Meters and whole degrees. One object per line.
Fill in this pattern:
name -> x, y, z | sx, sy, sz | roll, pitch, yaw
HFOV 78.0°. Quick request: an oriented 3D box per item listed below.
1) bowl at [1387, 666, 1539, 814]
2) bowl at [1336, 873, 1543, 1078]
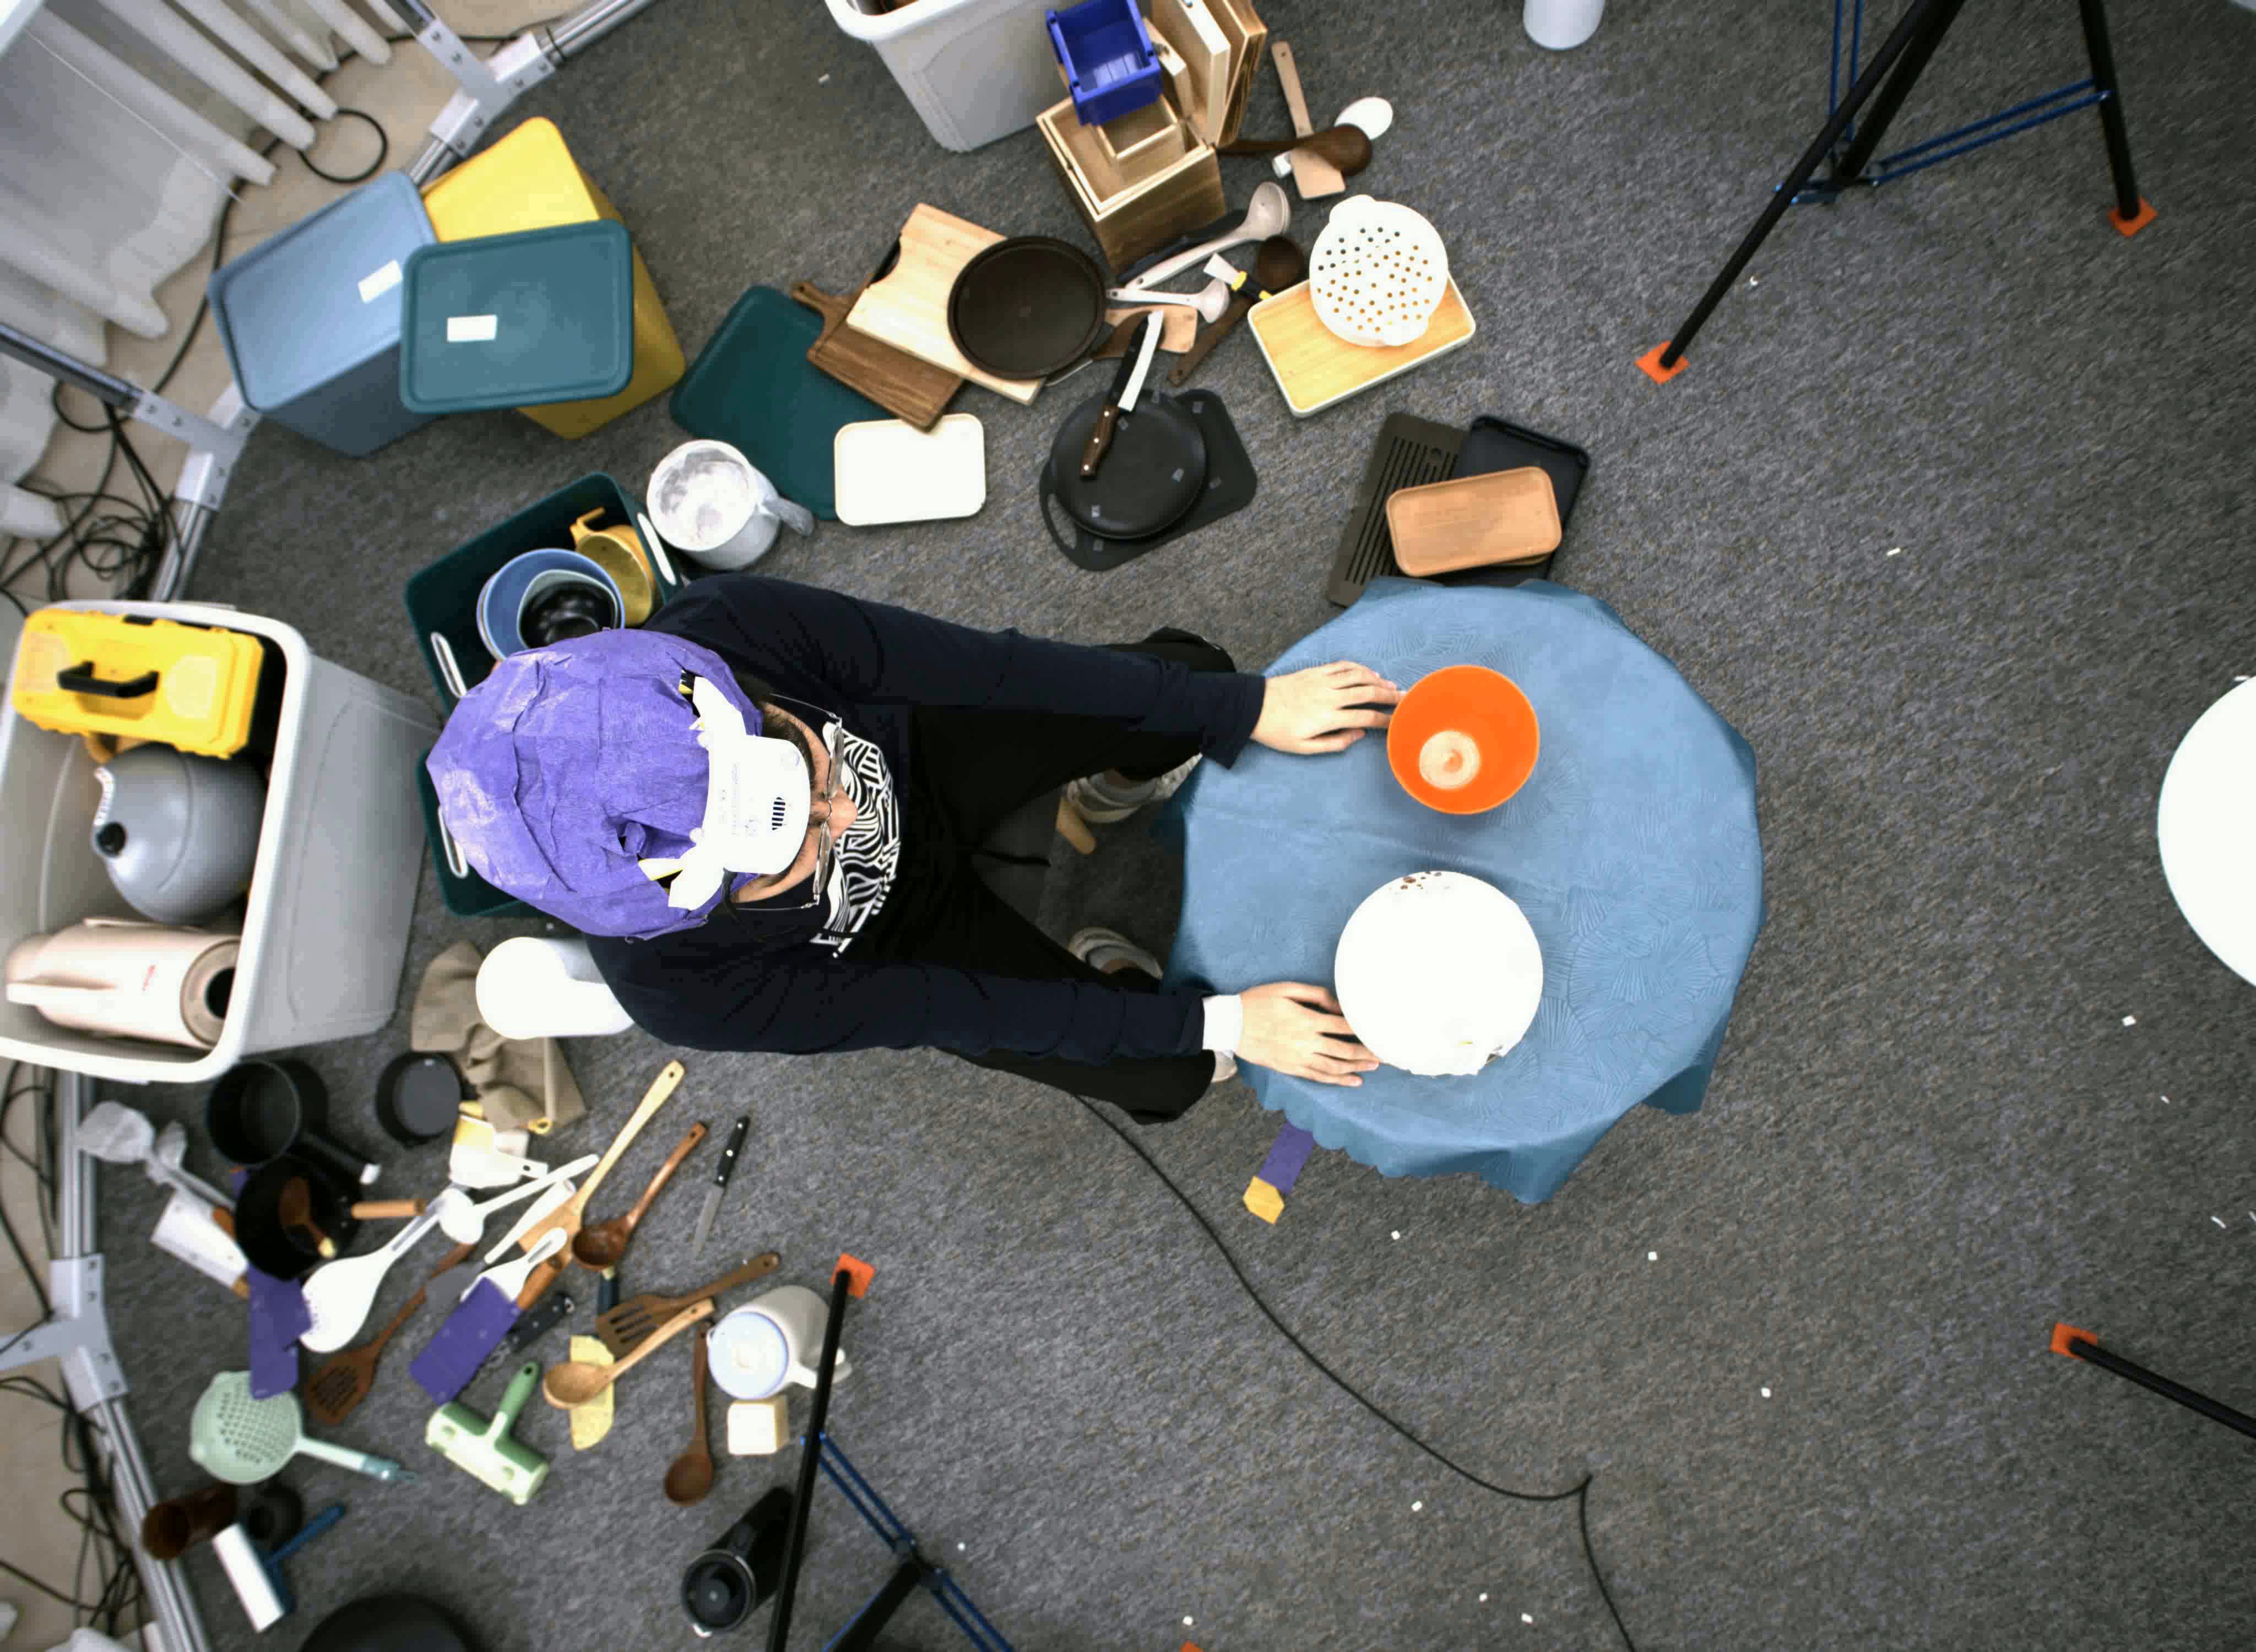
bowl -> 0.341, -0.083, 1.405 | 0.148, 0.104, 0.147 | -1, 87, 12
bowl -> 0.315, 0.150, 1.408 | 0.205, 0.078, 0.203 | -1, 86, 11
